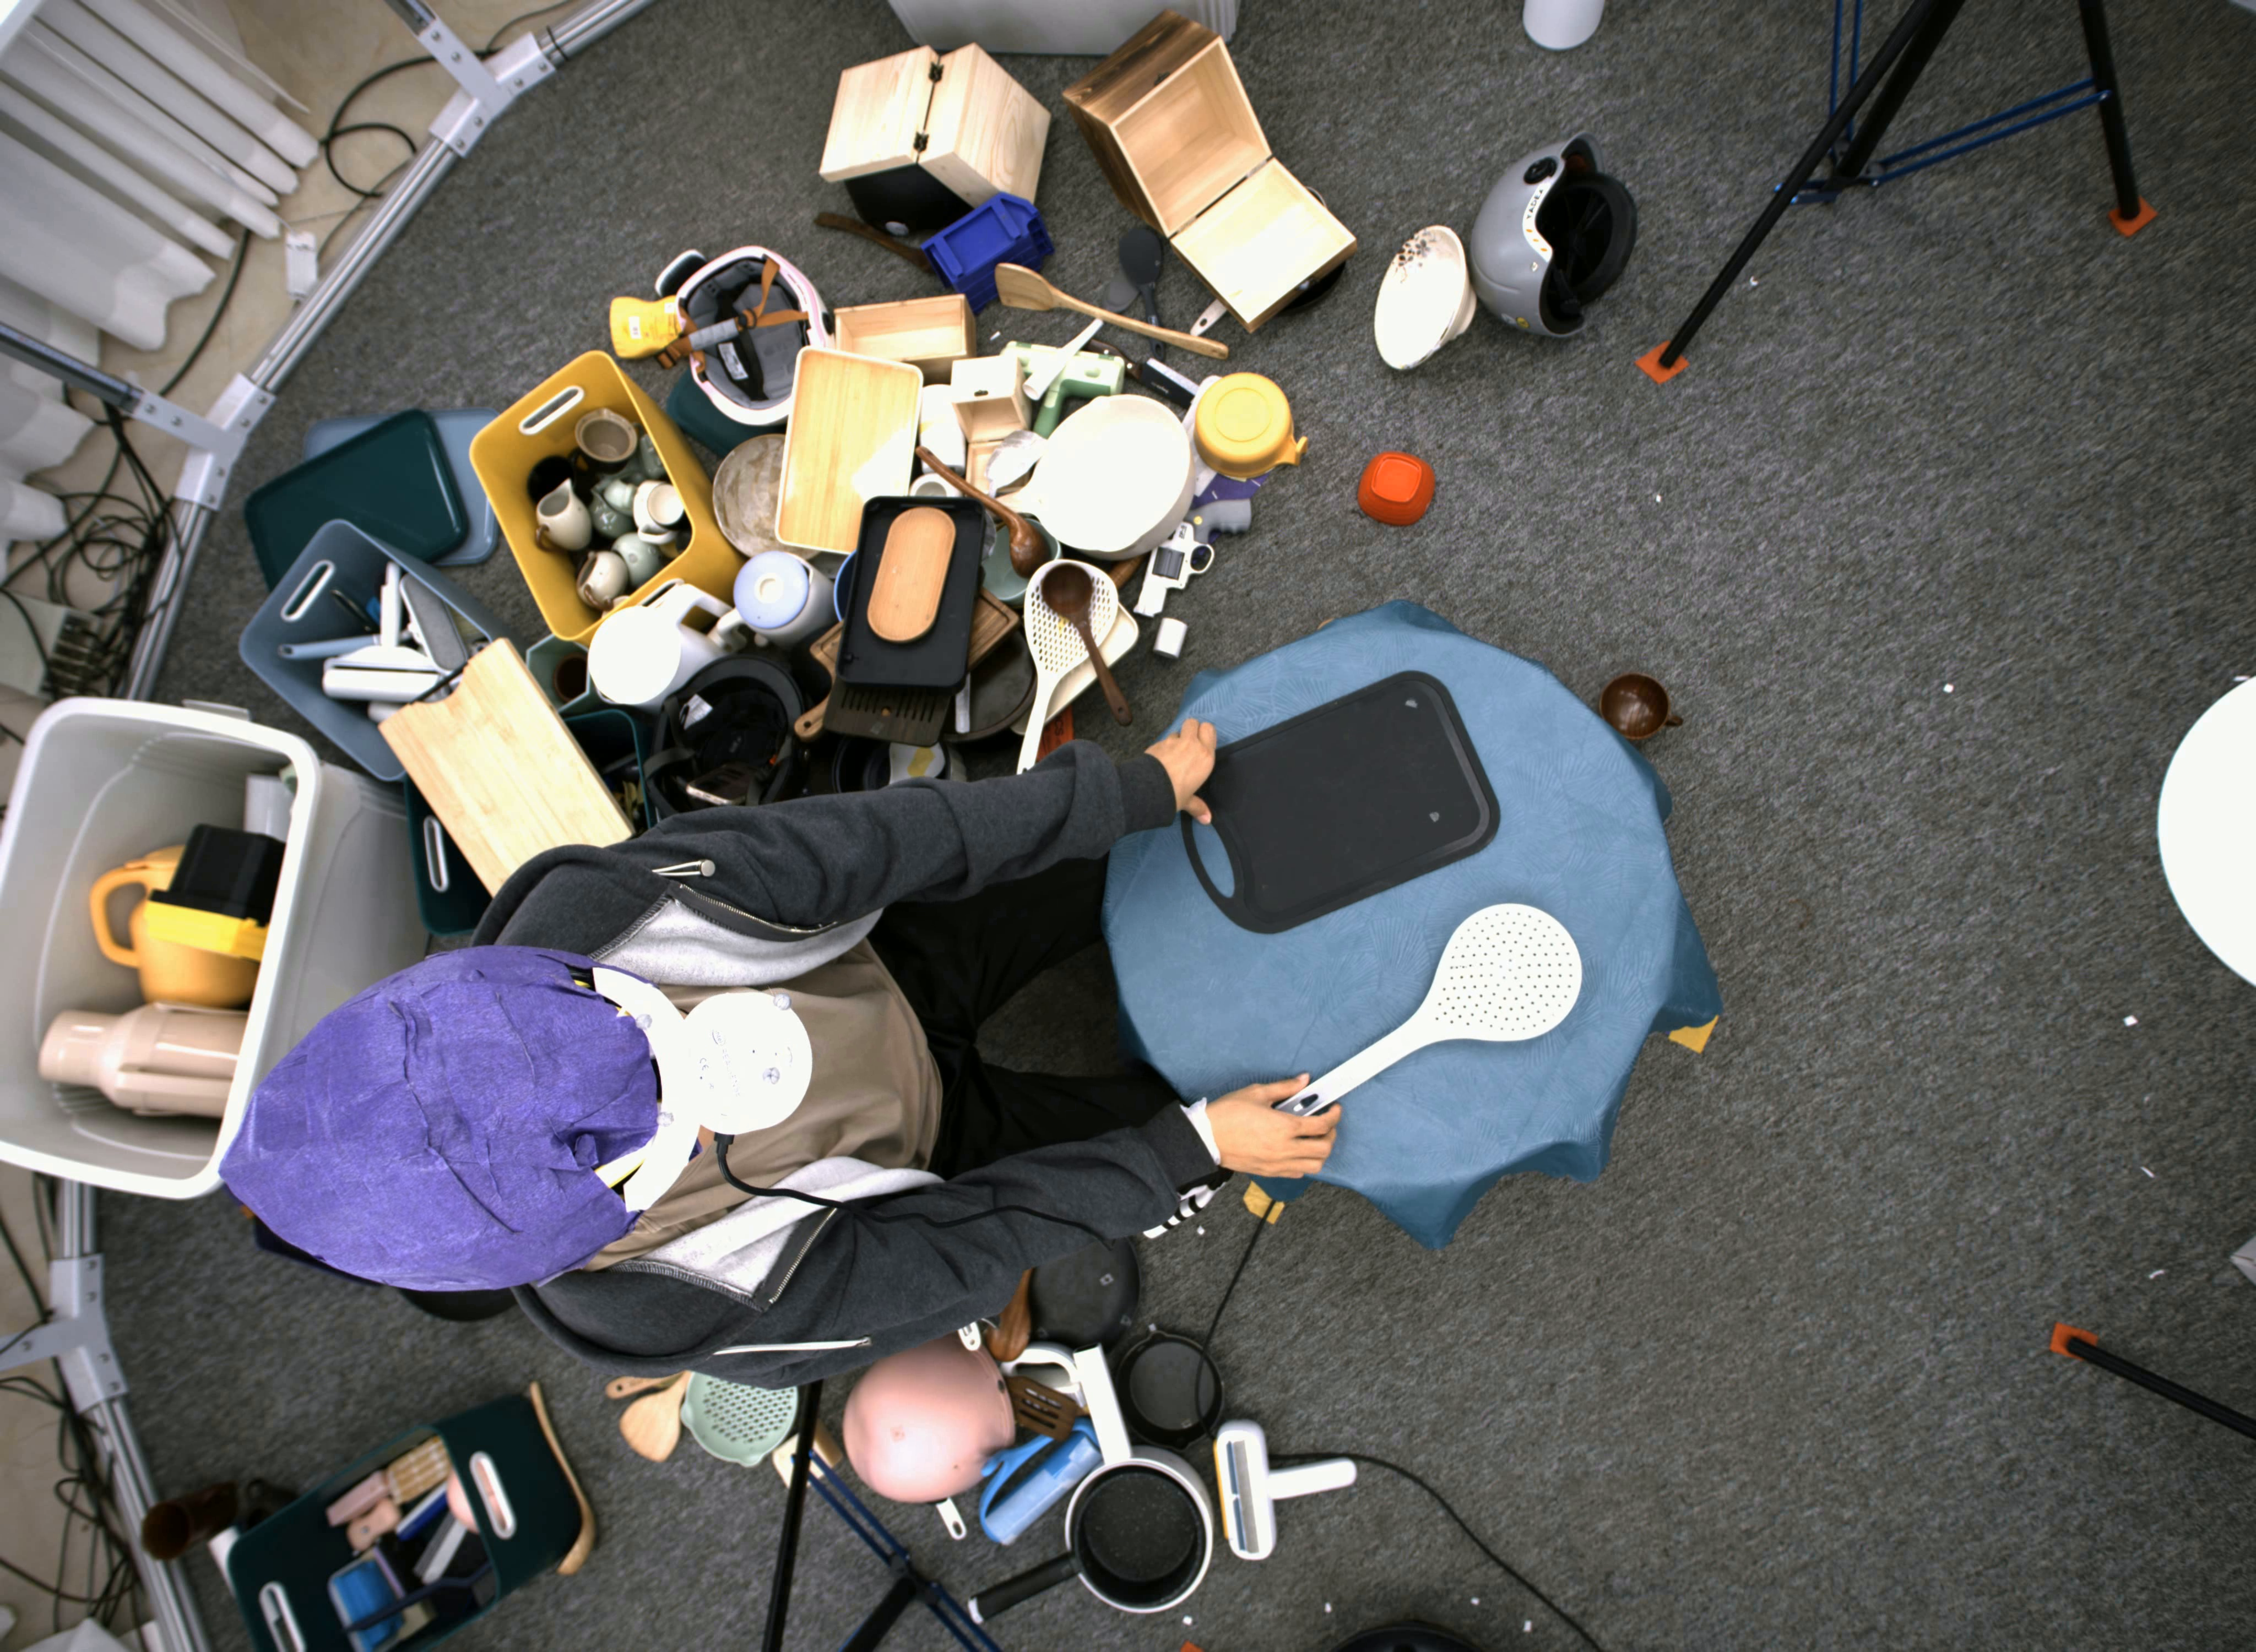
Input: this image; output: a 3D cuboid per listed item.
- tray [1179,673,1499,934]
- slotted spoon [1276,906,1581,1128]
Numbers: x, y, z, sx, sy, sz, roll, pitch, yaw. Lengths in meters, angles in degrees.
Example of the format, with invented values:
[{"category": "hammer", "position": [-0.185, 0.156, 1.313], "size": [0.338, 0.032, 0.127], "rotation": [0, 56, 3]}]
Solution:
[{"category": "tray", "position": [0.217, -0.021, 1.471], "size": [0.327, 0.010, 0.210], "rotation": [-22, 83, 8]}, {"category": "slotted spoon", "position": [0.303, 0.208, 1.423], "size": [0.352, 0.046, 0.135], "rotation": [-34, 81, 8]}]
